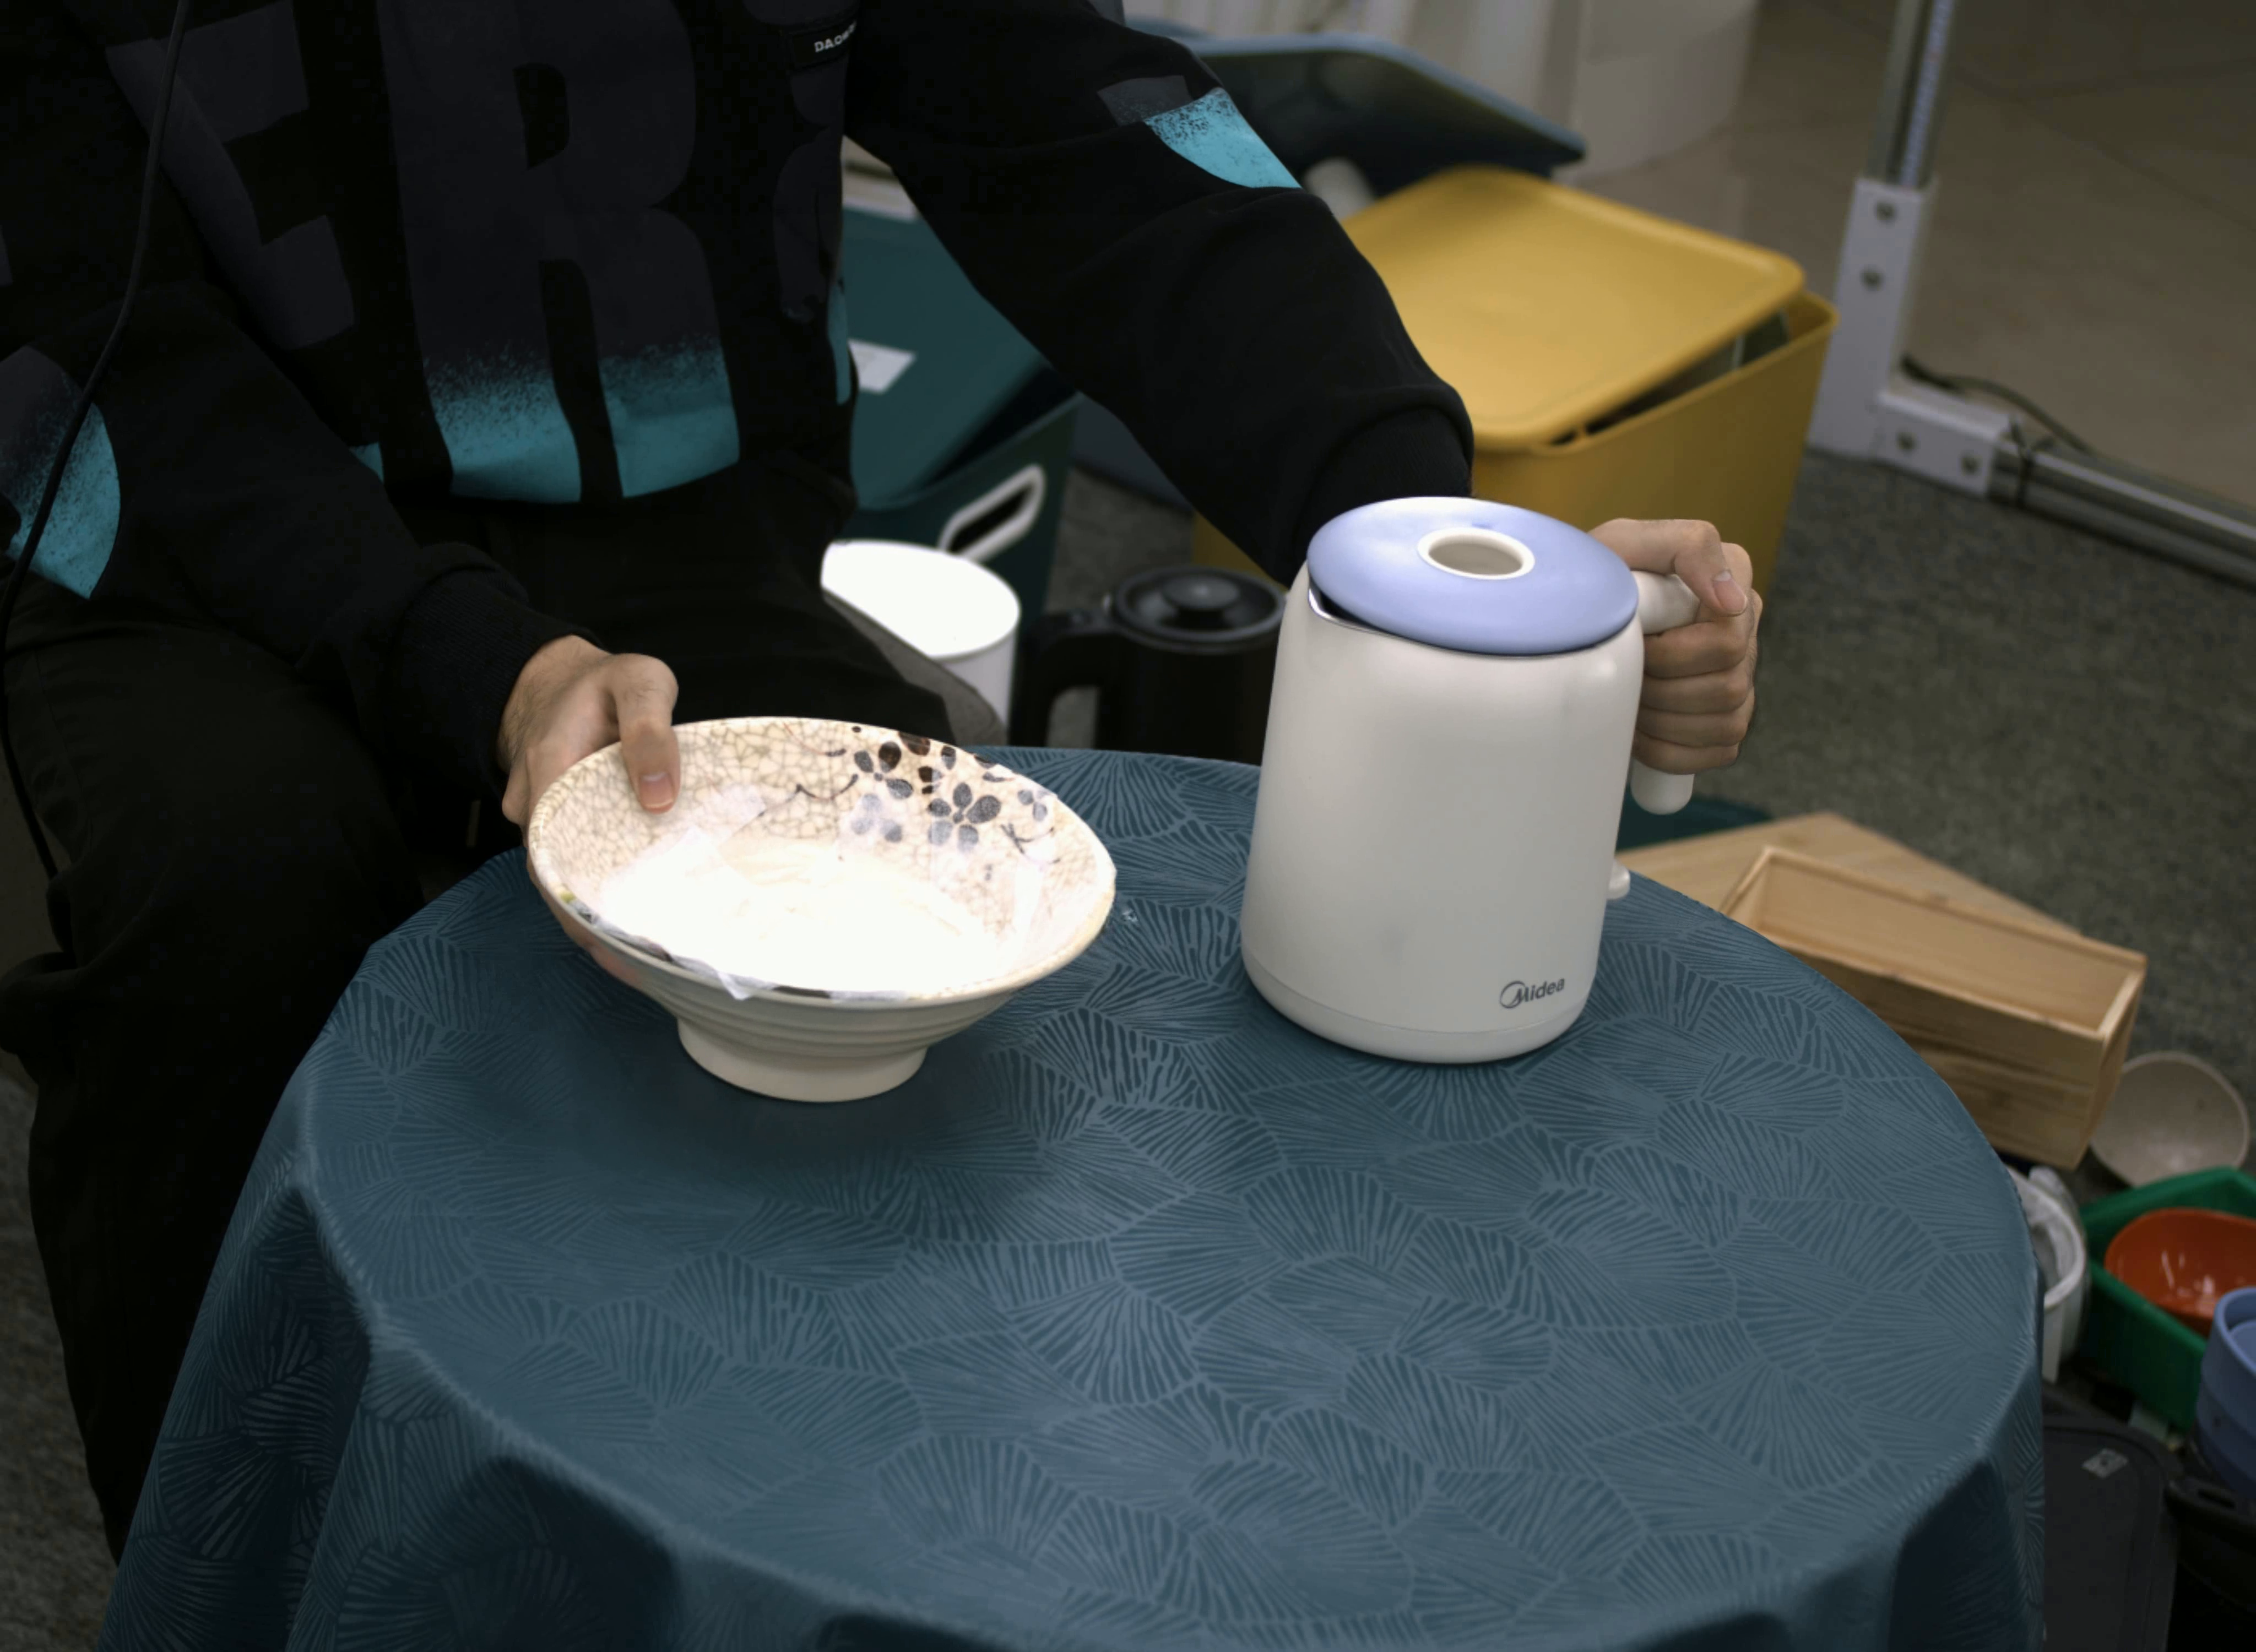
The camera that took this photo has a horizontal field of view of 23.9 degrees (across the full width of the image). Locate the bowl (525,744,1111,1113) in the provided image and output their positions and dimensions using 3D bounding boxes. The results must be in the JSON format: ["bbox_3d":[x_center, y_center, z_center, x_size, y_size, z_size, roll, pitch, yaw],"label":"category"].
[{"bbox_3d":[-0.110,0.046,1.847,0.203,0.078,0.205,6,23,-3],"label":"bowl"}]

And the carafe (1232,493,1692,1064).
[{"bbox_3d":[0.131,-0.021,1.926,0.190,0.182,0.133,-11,33,-36],"label":"carafe"}]
